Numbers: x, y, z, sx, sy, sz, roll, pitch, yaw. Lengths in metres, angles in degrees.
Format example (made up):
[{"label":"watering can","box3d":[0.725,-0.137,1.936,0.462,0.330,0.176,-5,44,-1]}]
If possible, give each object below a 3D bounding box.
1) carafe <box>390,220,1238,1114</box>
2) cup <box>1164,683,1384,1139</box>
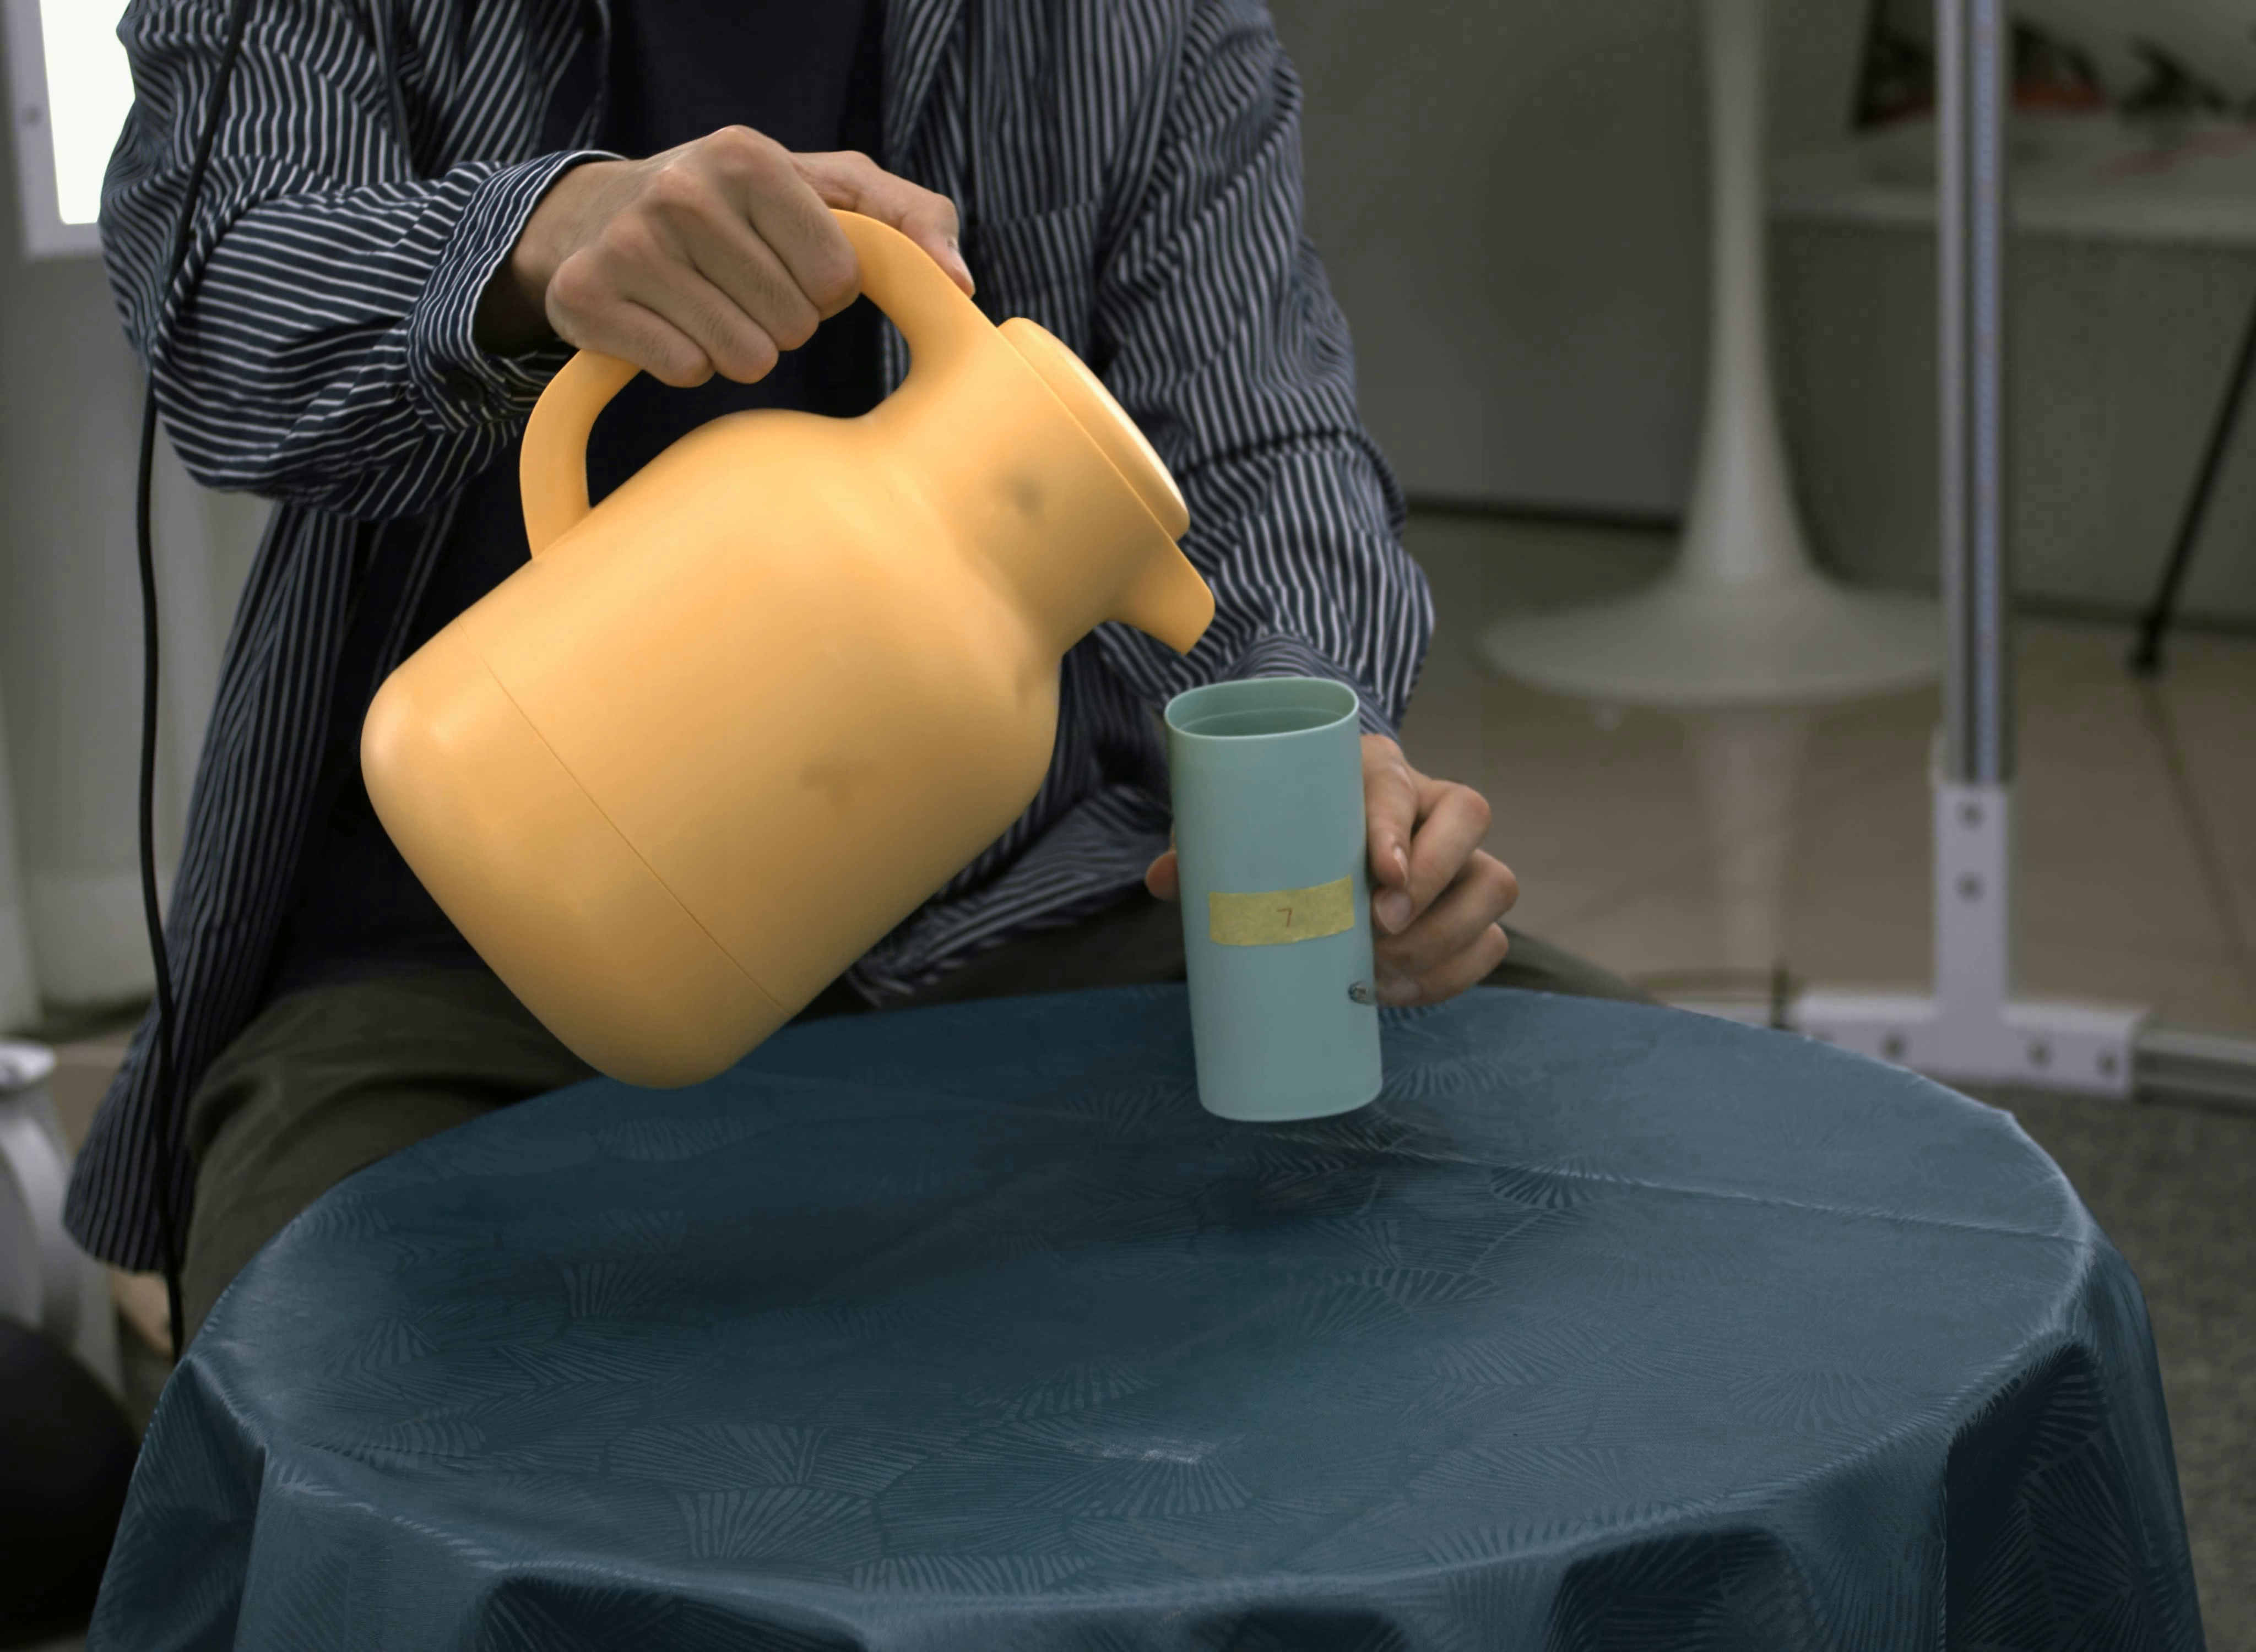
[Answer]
[{"label":"carafe","box3d":[-0.107,-0.058,1.687,0.260,0.202,0.164,-40,6,-1]},{"label":"cup","box3d":[0.048,0.026,1.721,0.066,0.133,0.067,-5,17,1]}]
